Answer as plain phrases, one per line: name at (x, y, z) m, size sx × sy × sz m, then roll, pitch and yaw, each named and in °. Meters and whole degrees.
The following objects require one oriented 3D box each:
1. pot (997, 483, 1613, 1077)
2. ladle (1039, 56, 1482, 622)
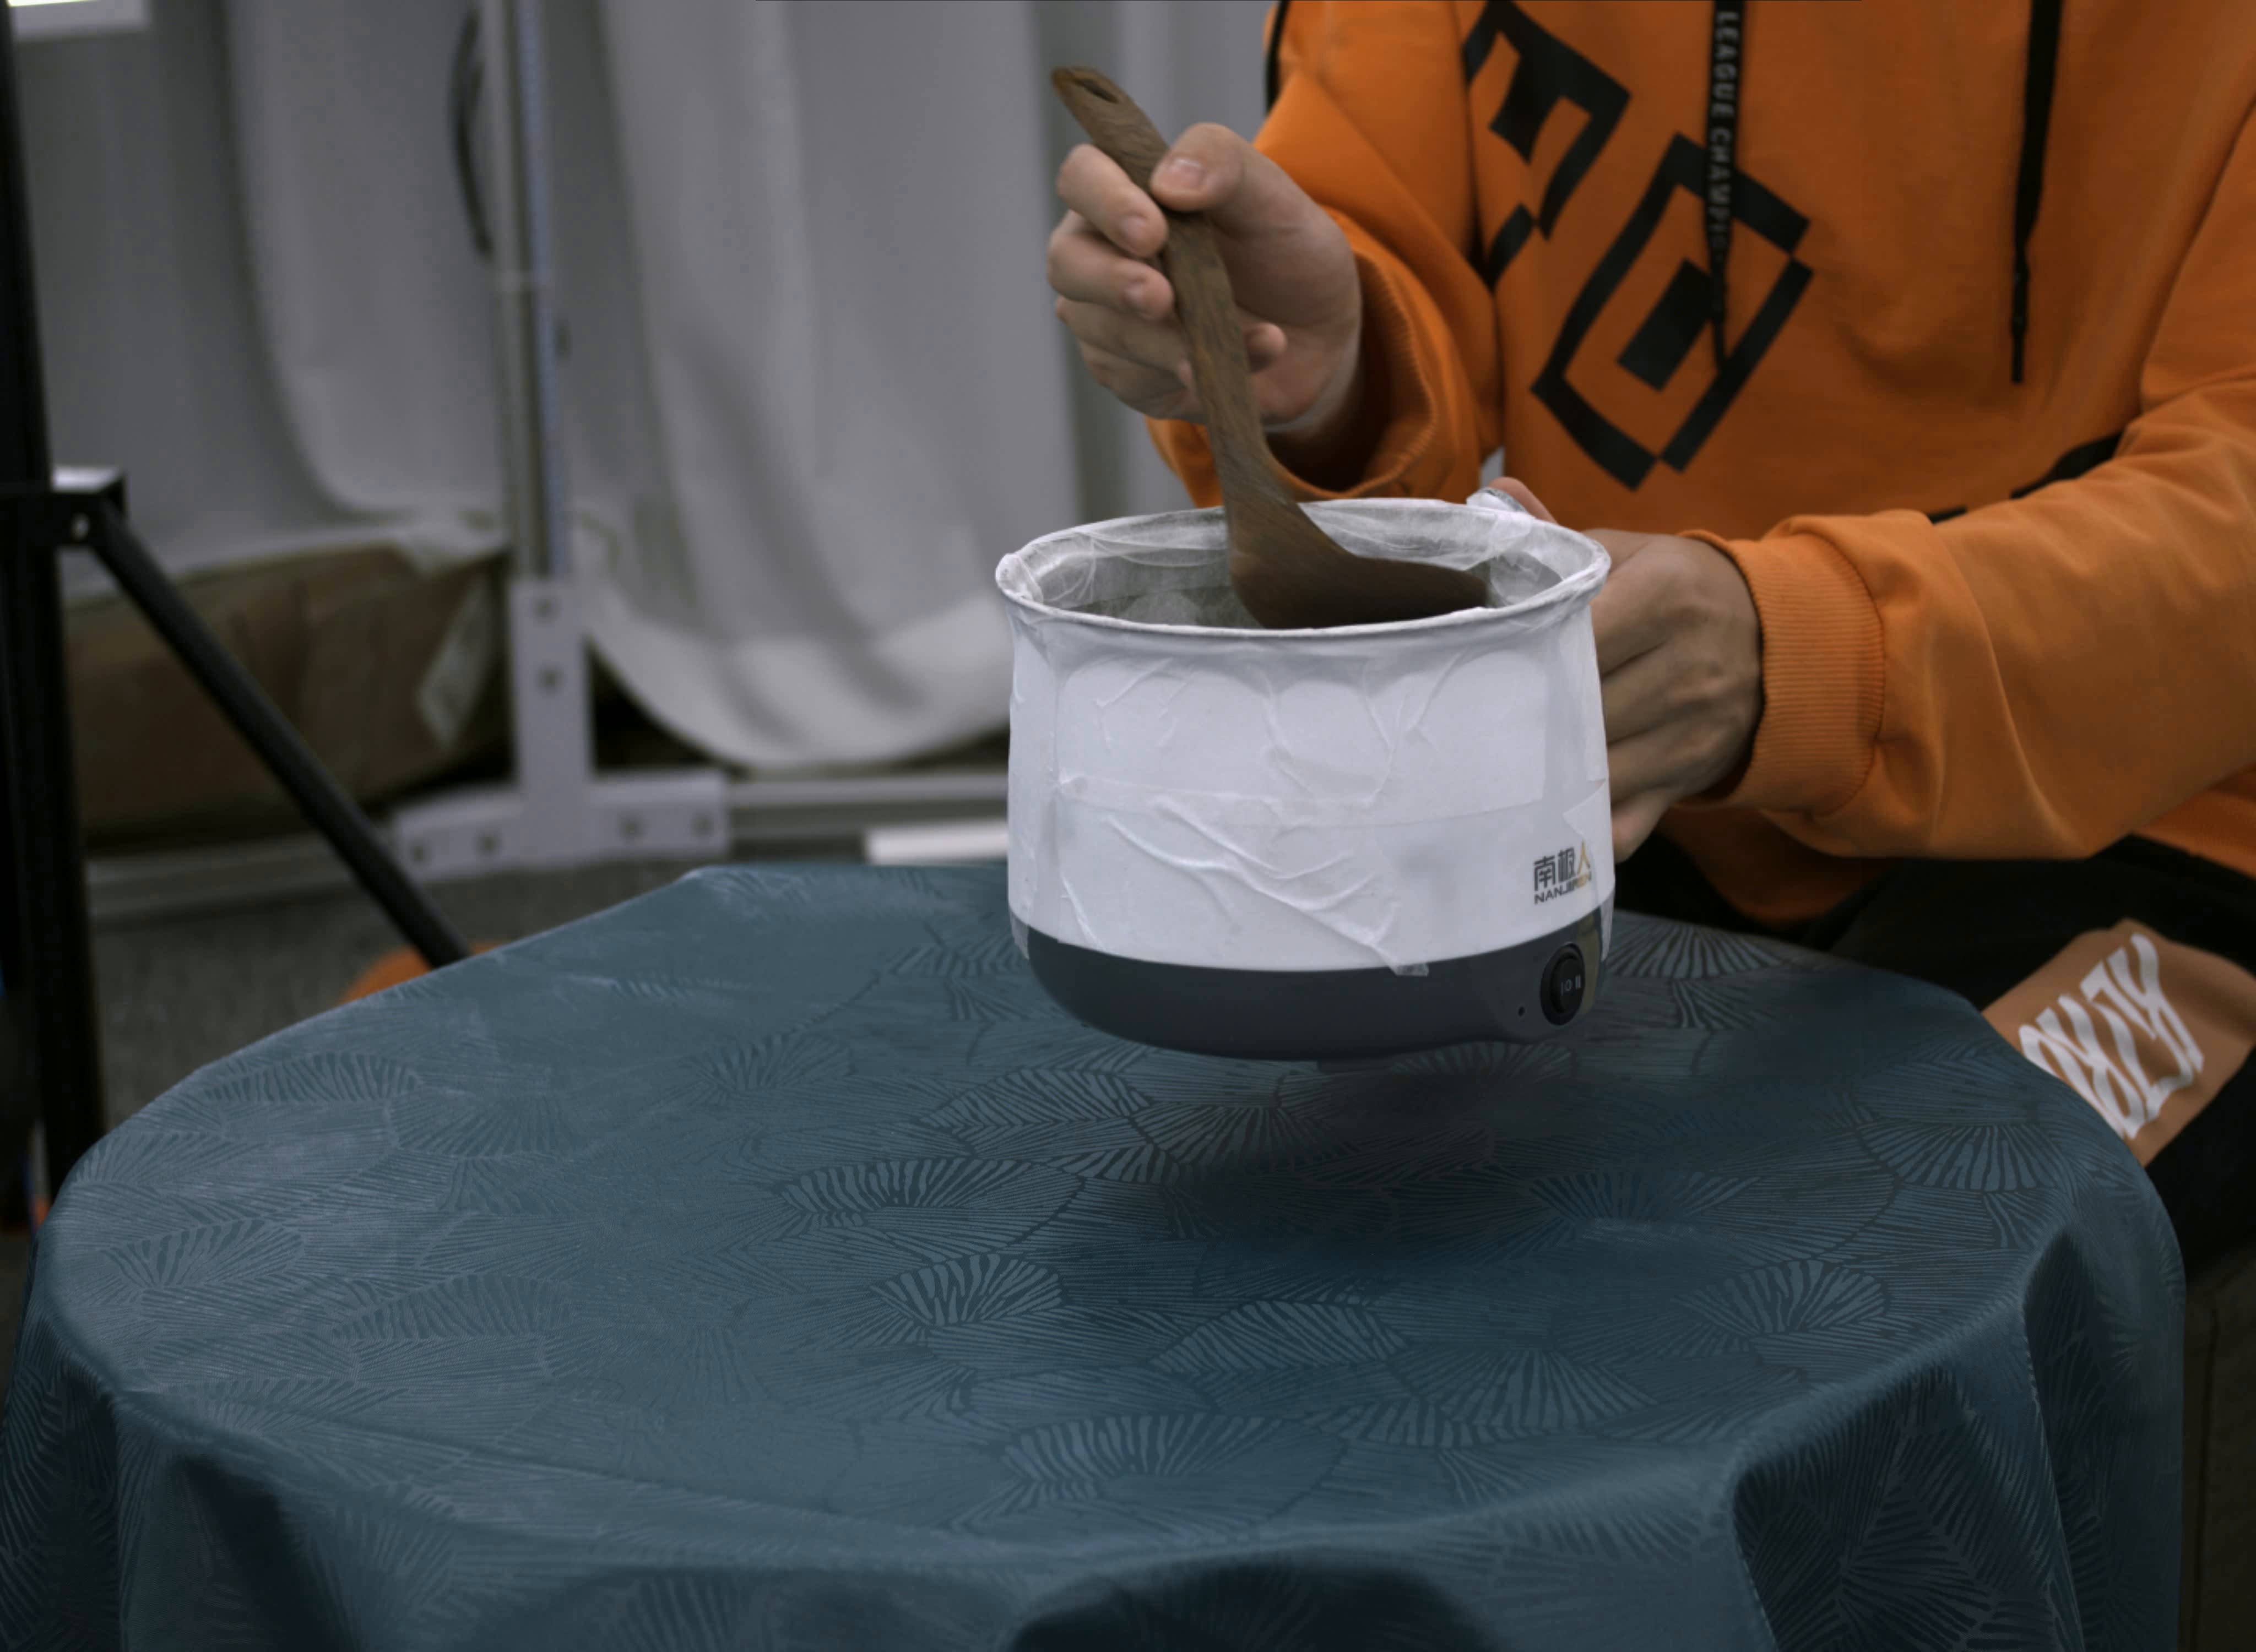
pot at (0.068, -0.020, 1.556) m, size 0.182 × 0.136 × 0.229 m, roll 9°, pitch 18°, yaw 35°
ladle at (0.035, -0.154, 1.588) m, size 0.074 × 0.072 × 0.279 m, roll 15°, pitch 42°, yaw -36°
